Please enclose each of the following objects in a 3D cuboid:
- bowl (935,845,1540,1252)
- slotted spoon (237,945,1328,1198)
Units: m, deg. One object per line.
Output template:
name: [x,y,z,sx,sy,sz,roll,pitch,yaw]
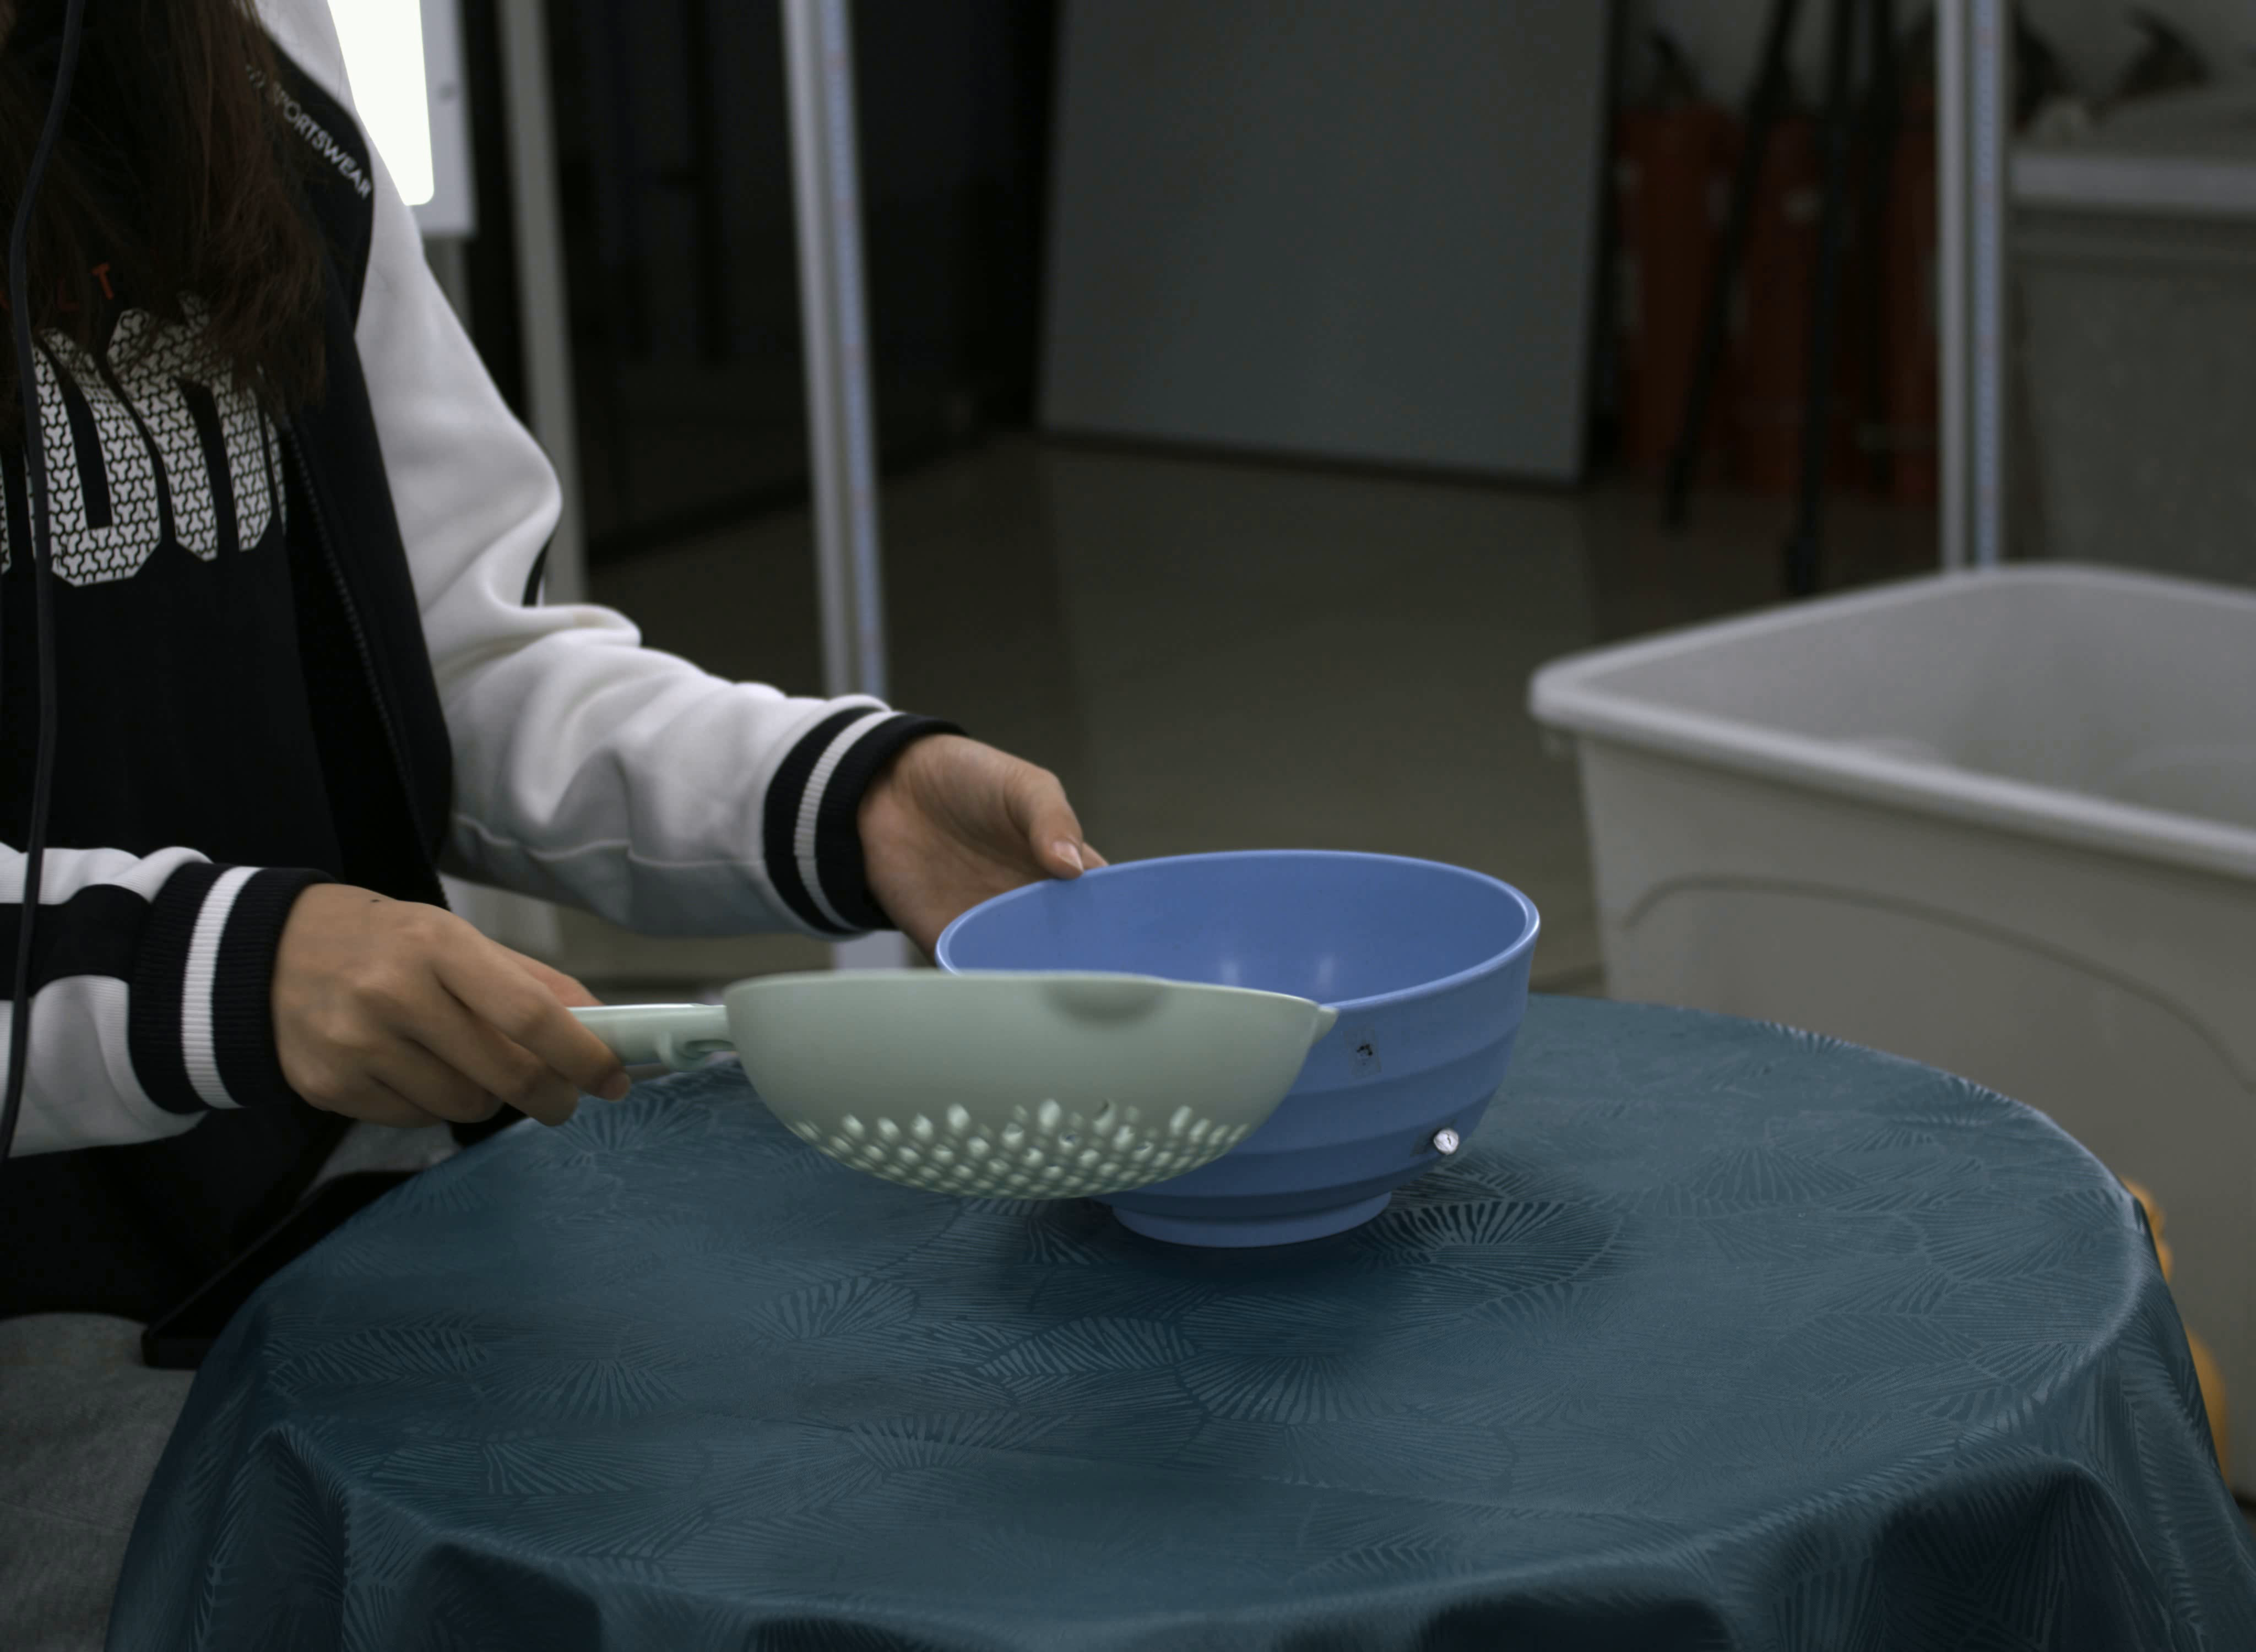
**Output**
bowl: [0.038,0.077,1.737,0.194,0.096,0.197,-4,14,0]
slotted spoon: [-0.116,0.065,1.569,0.360,0.076,0.166,5,-7,33]
